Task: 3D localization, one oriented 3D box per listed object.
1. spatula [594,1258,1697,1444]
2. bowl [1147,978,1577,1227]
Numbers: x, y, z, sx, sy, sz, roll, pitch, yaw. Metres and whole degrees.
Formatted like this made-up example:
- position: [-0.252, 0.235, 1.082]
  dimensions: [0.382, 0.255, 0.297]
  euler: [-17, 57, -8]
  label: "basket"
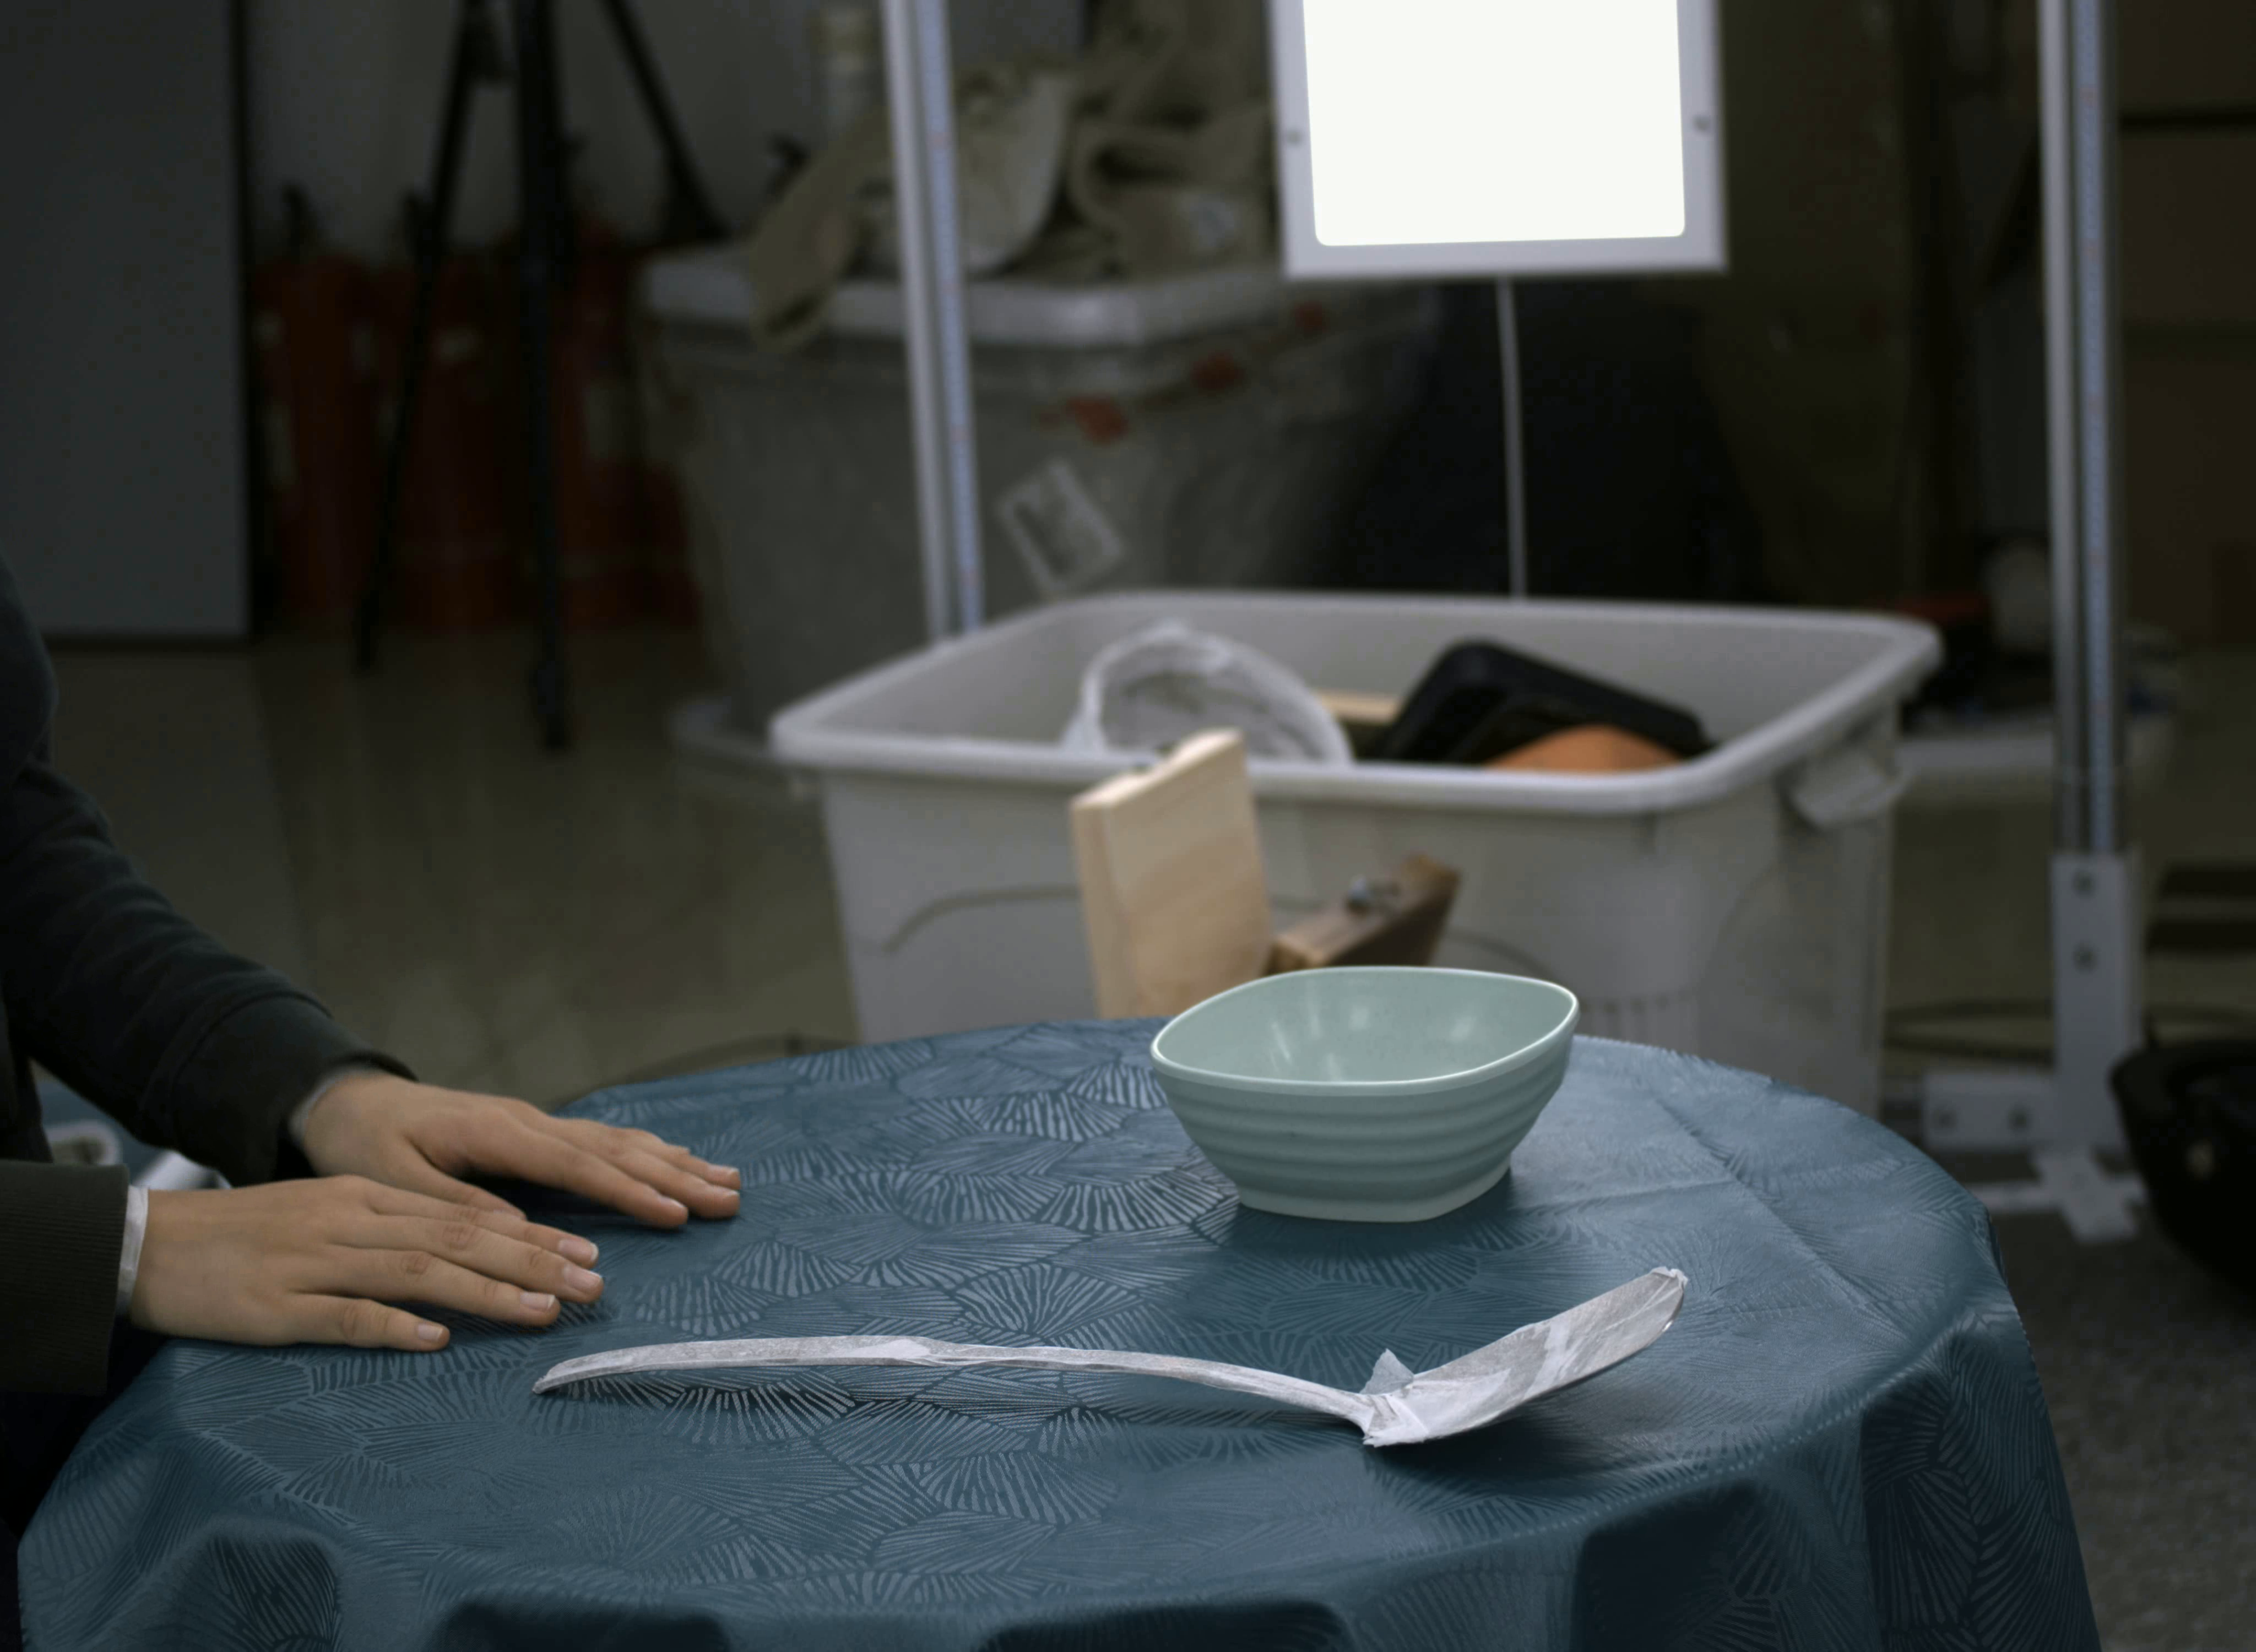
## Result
- position: [-0.005, 0.159, 1.685]
  dimensions: [0.370, 0.045, 0.097]
  euler: [1, 17, 22]
  label: "spatula"
- position: [0.081, 0.097, 1.877]
  dimensions: [0.151, 0.059, 0.151]
  euler: [-3, 12, -1]
  label: "bowl"
